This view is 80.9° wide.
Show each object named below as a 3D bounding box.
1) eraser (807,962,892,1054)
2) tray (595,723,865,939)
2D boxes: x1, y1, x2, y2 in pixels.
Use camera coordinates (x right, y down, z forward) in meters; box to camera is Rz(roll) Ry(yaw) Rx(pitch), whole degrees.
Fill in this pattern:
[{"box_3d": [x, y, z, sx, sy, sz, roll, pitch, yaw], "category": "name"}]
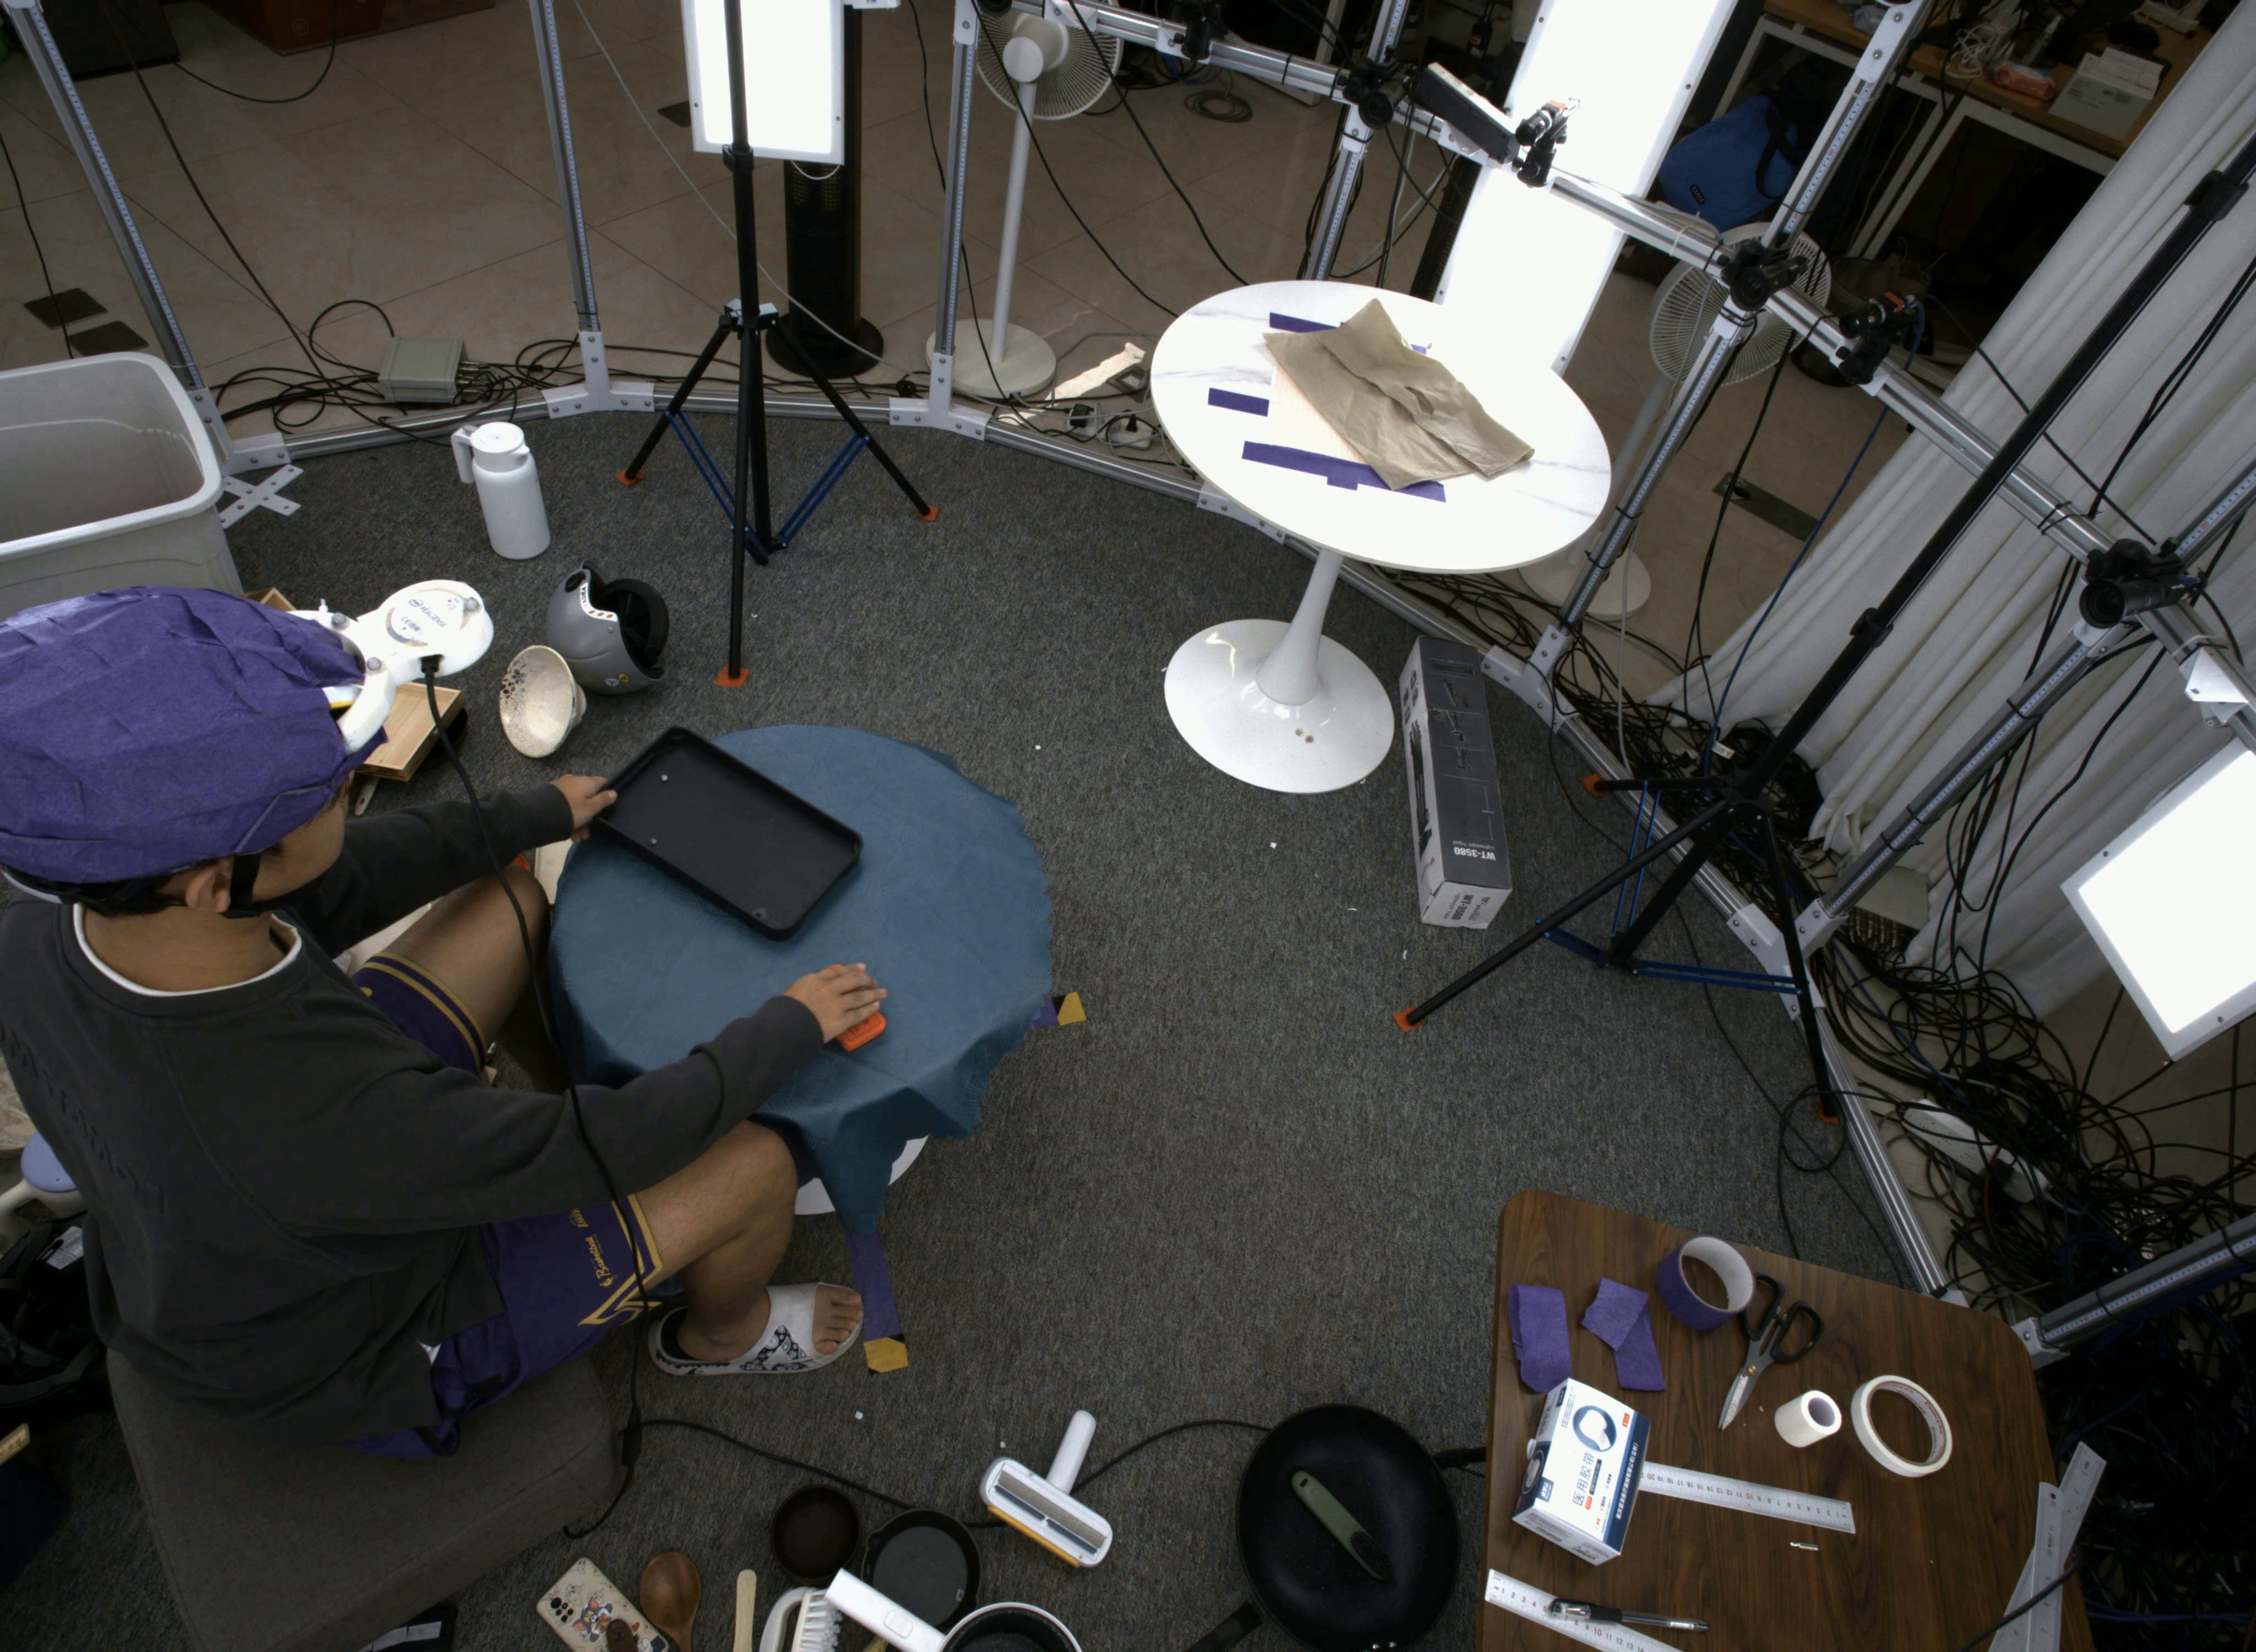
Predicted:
[{"box_3d": [-0.337, 0.216, 1.570, 0.059, 0.023, 0.105, -35, 70, -23], "category": "eraser"}, {"box_3d": [-0.515, 0.002, 1.669, 0.314, 0.037, 0.183, 30, 53, 4], "category": "tray"}]
